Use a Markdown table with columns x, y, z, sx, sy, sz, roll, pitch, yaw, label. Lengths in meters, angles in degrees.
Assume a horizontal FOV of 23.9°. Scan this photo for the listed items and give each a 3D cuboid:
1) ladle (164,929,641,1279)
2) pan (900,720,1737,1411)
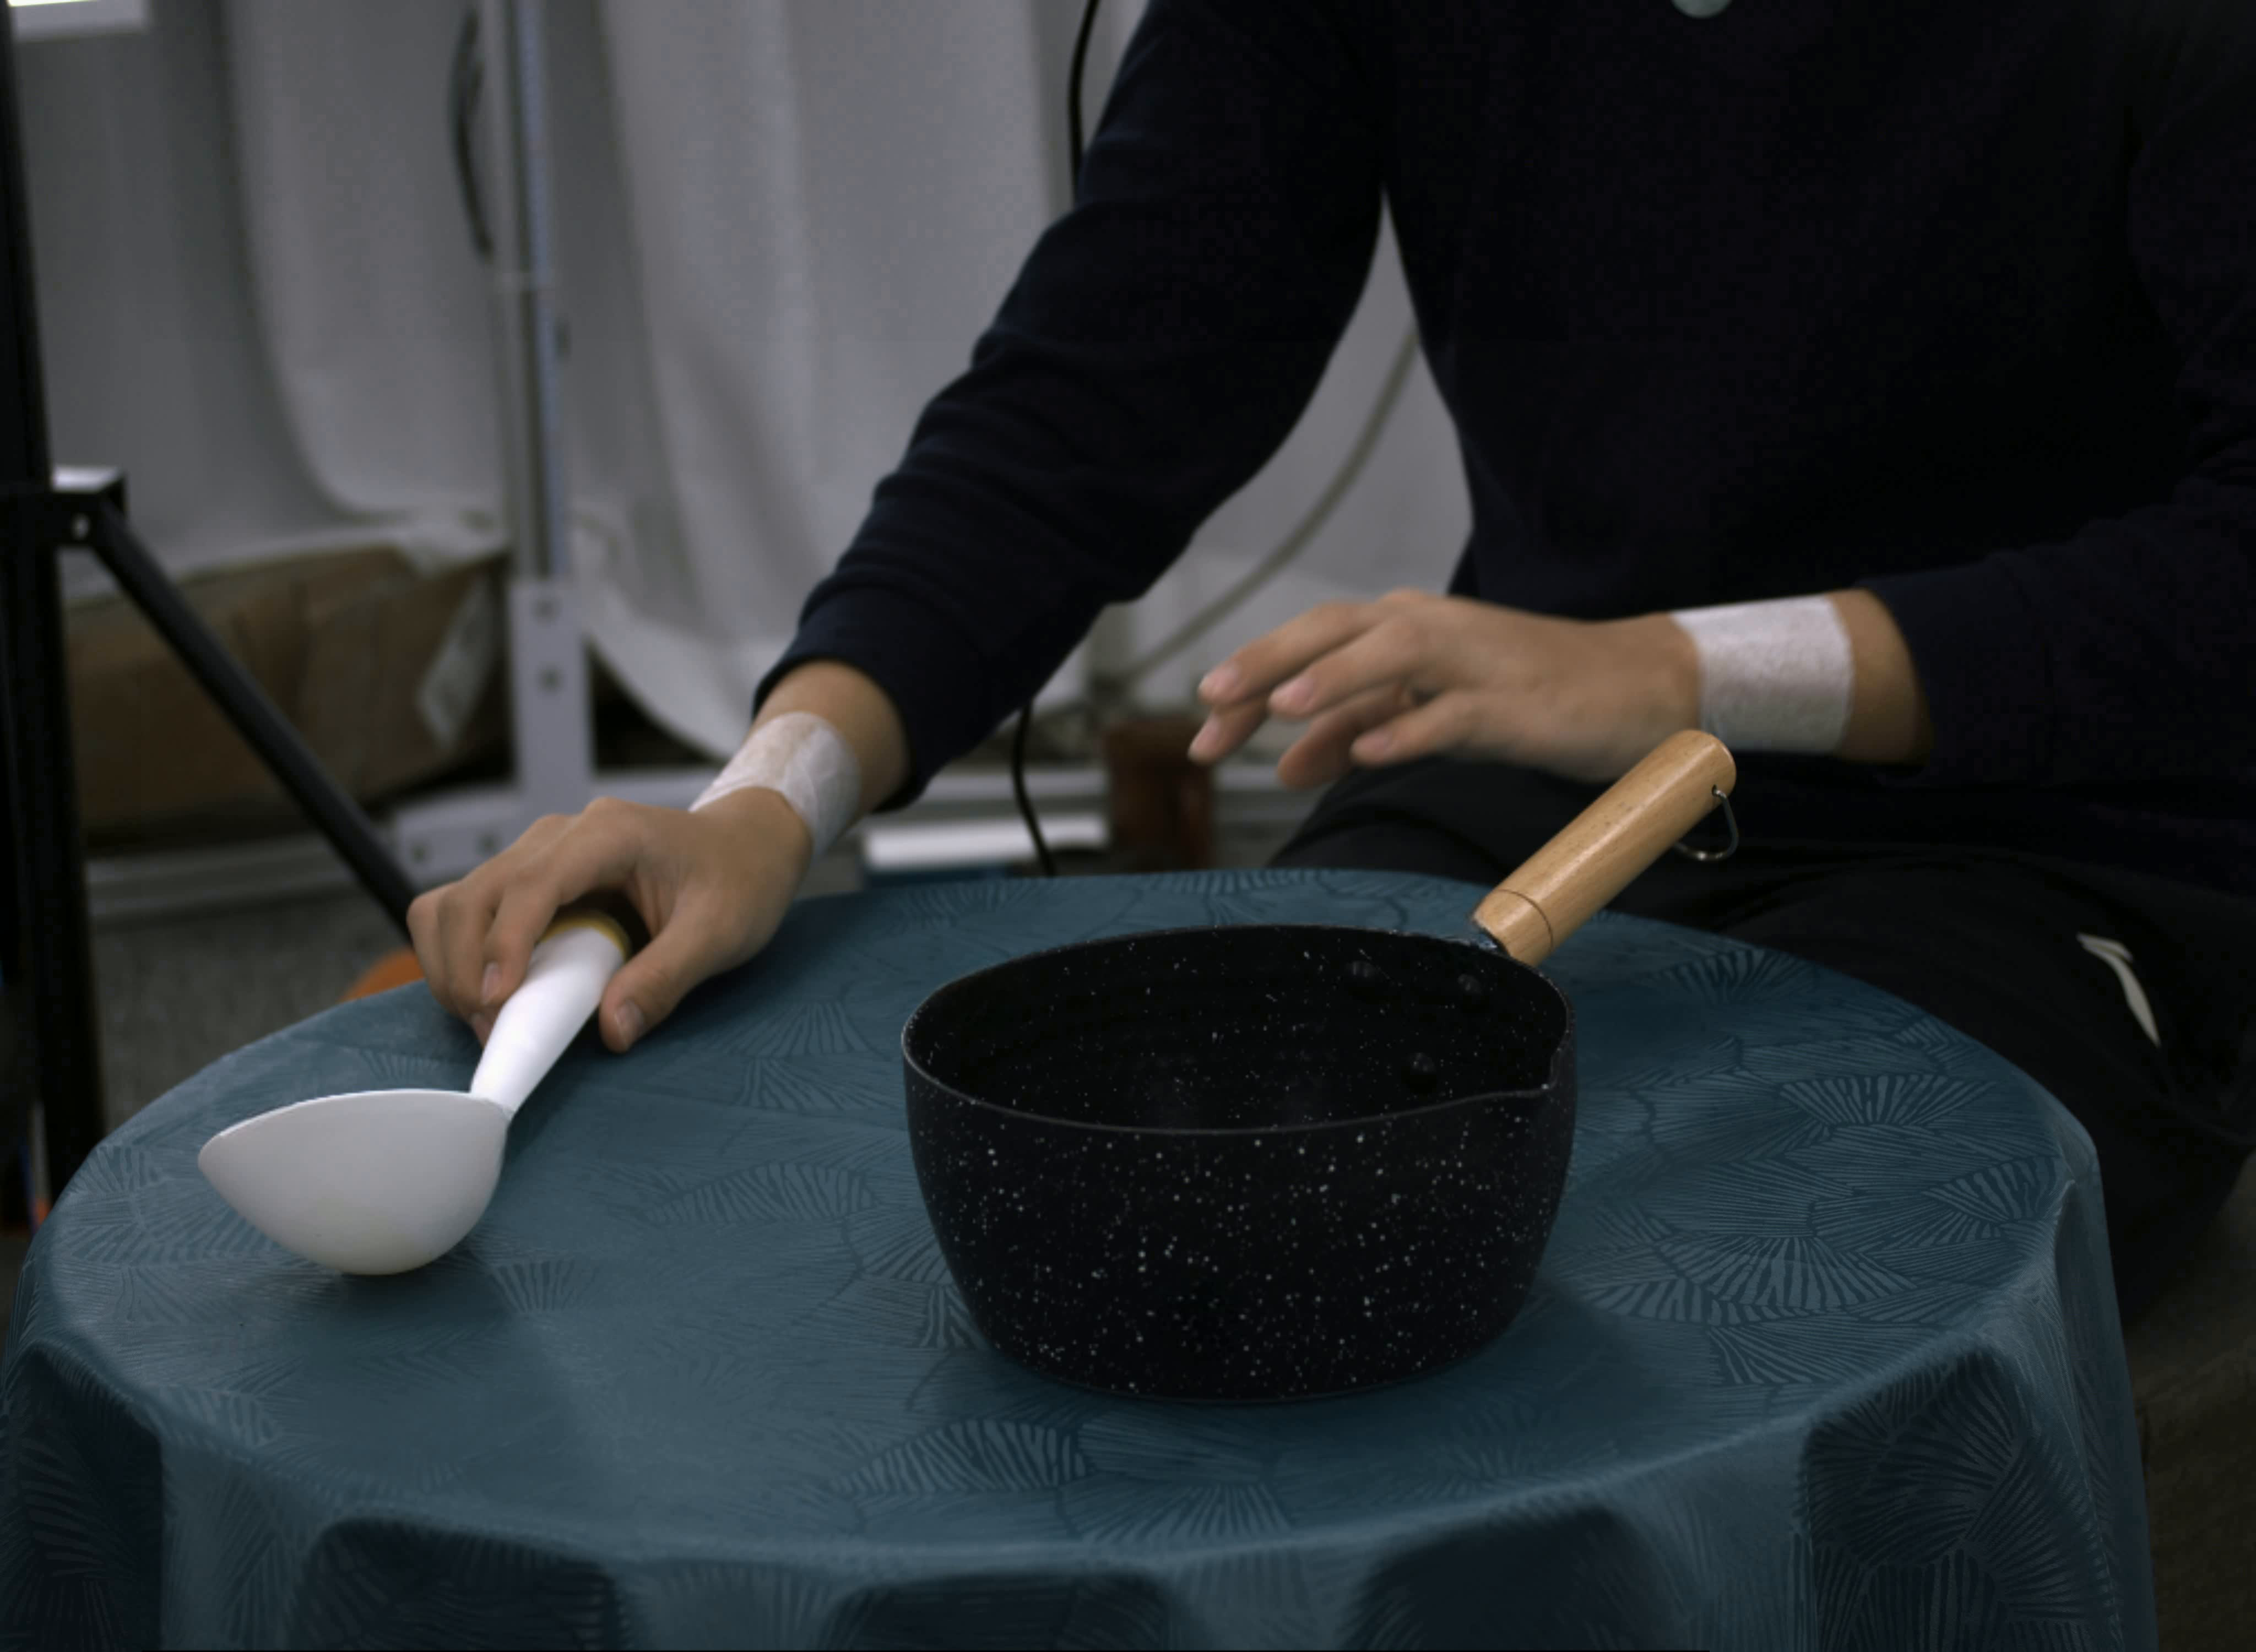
| x | y | z | sx | sy | sz | roll | pitch | yaw | label |
| --- | --- | --- | --- | --- | --- | --- | --- | --- | --- |
| -0.206 | 0.070 | 1.620 | 0.091 | 0.070 | 0.291 | -21 | 11 | 15 | ladle |
| 0.077 | 0.063 | 1.506 | 0.212 | 0.108 | 0.336 | 8 | 20 | 36 | pan |
